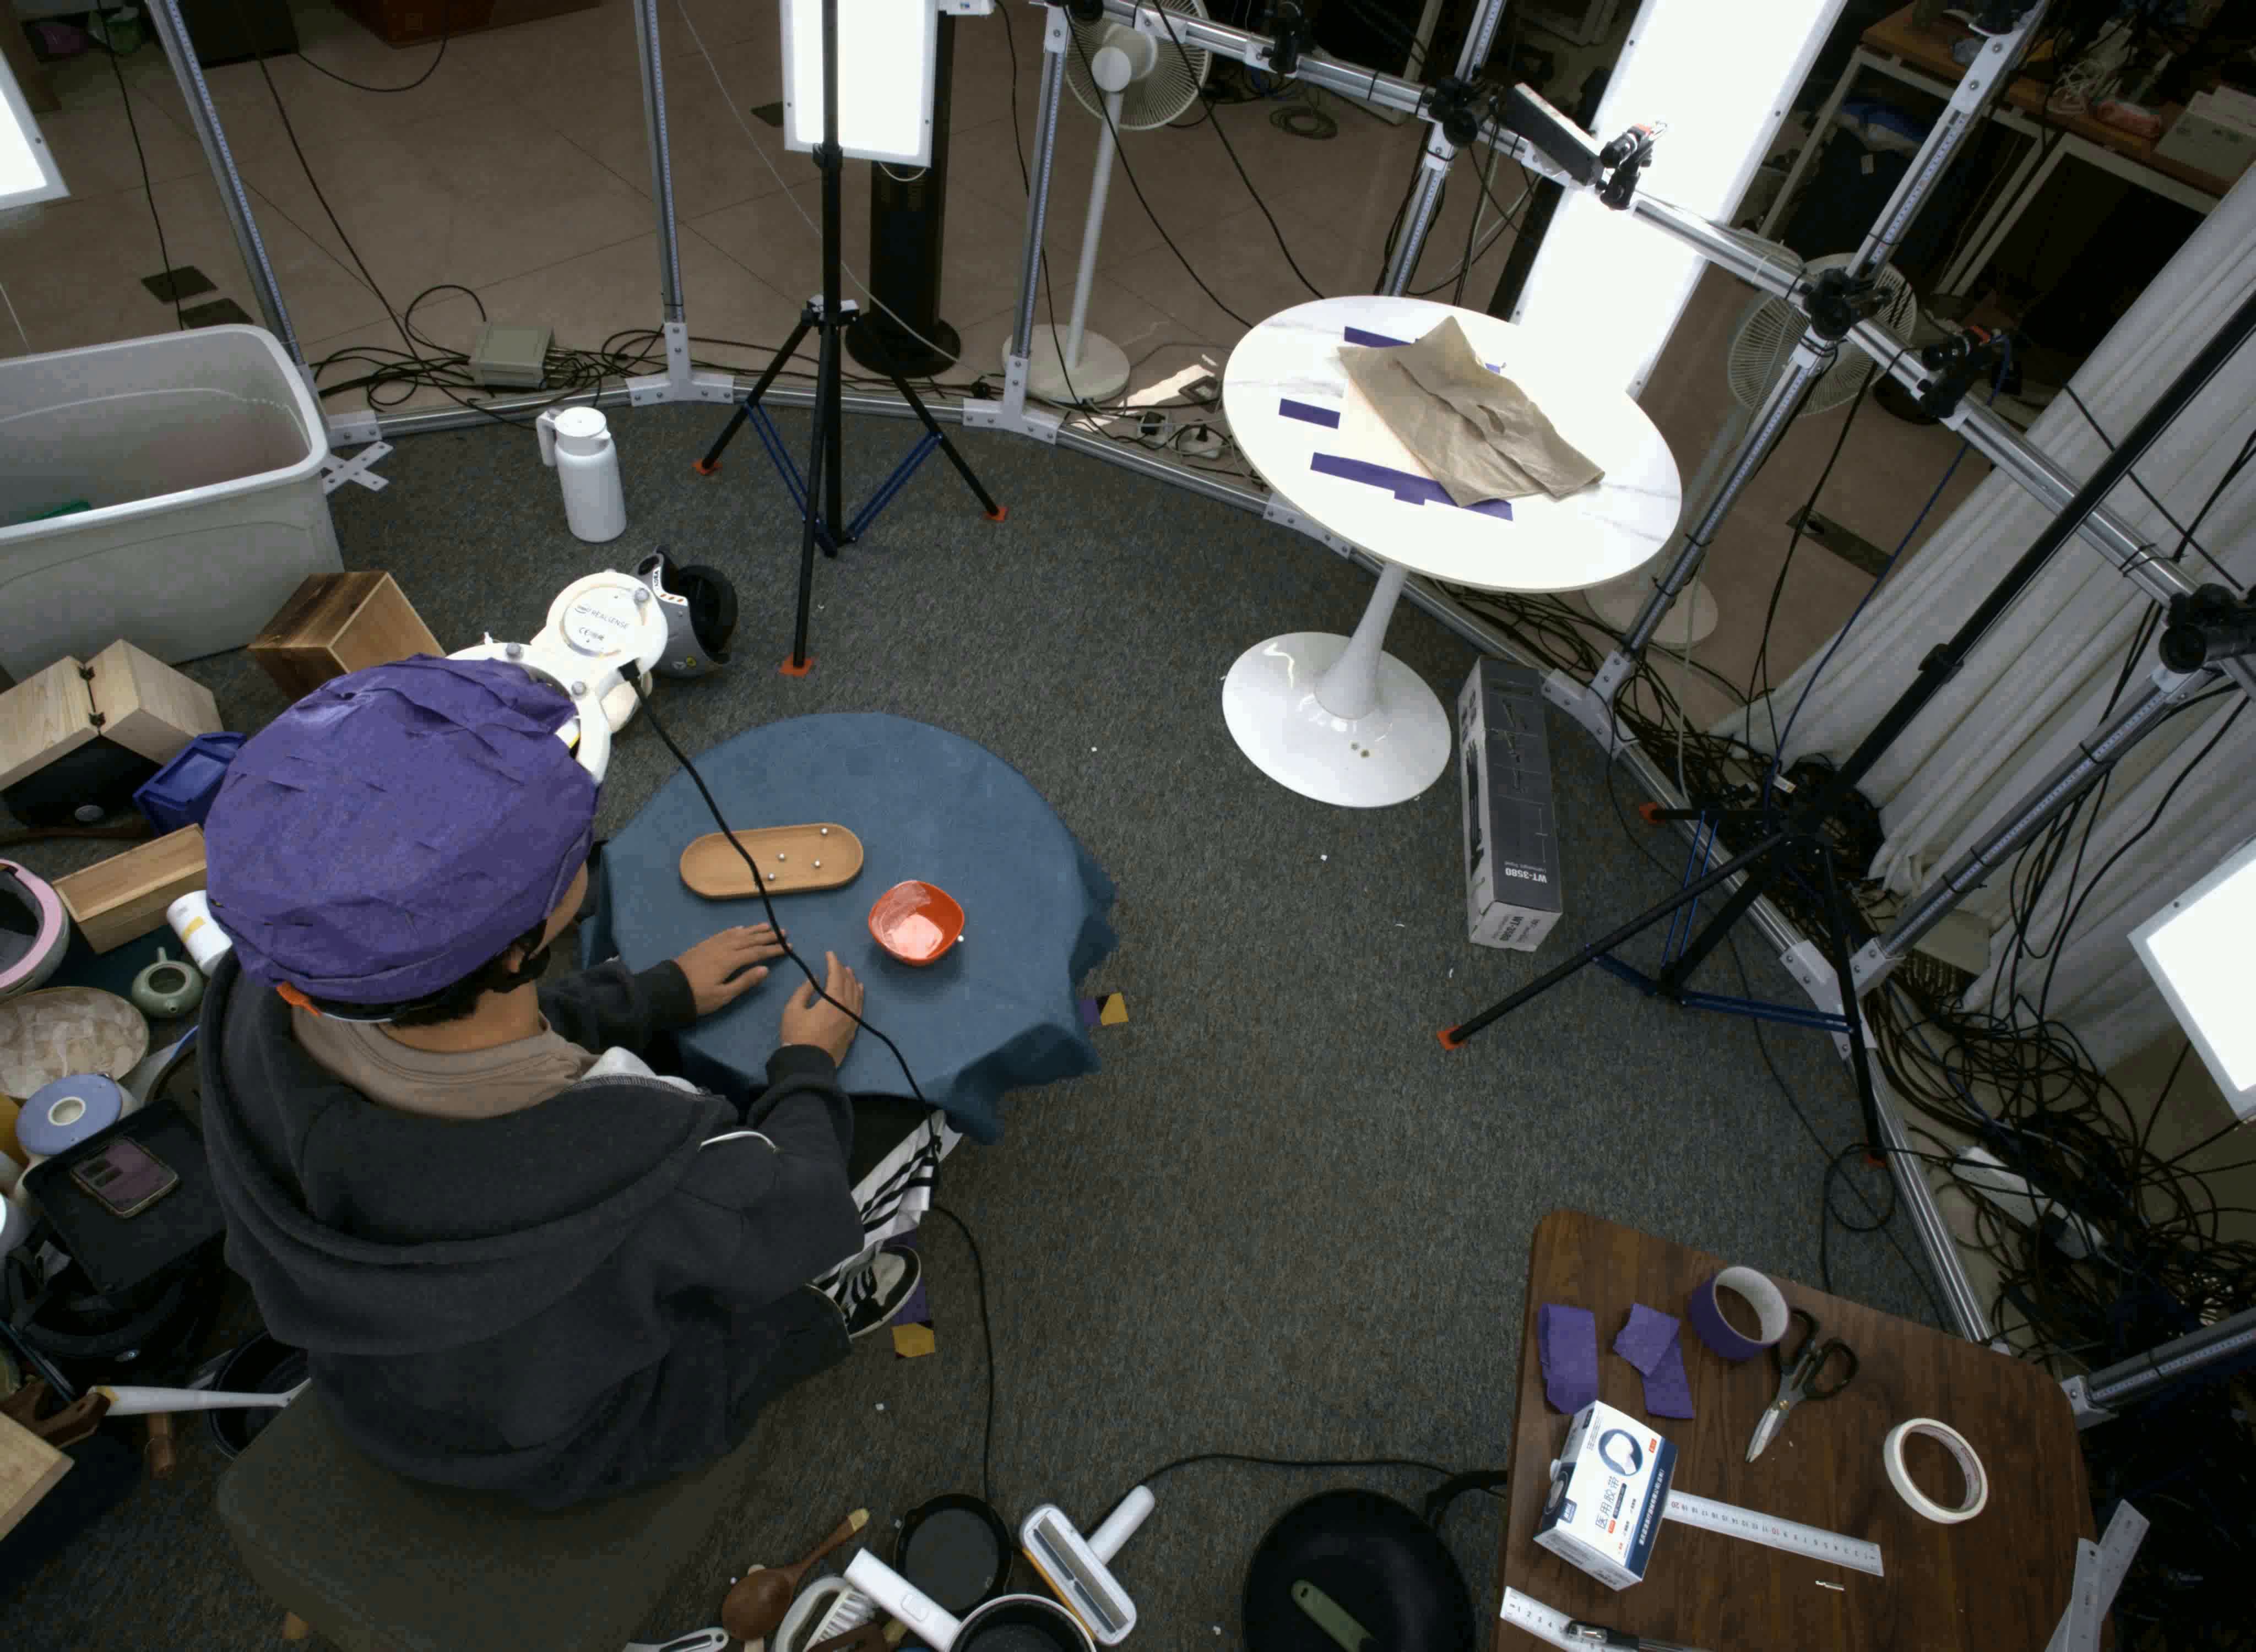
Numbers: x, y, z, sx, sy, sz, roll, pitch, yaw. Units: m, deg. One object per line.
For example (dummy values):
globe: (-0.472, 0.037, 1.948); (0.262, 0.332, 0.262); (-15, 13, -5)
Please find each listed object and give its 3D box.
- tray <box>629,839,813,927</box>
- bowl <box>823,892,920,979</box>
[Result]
tray: (-0.517, 0.070, 1.642); (0.232, 0.021, 0.099); (-10, 56, -20)
bowl: (-0.318, 0.143, 1.614); (0.119, 0.052, 0.117); (9, 51, -9)
